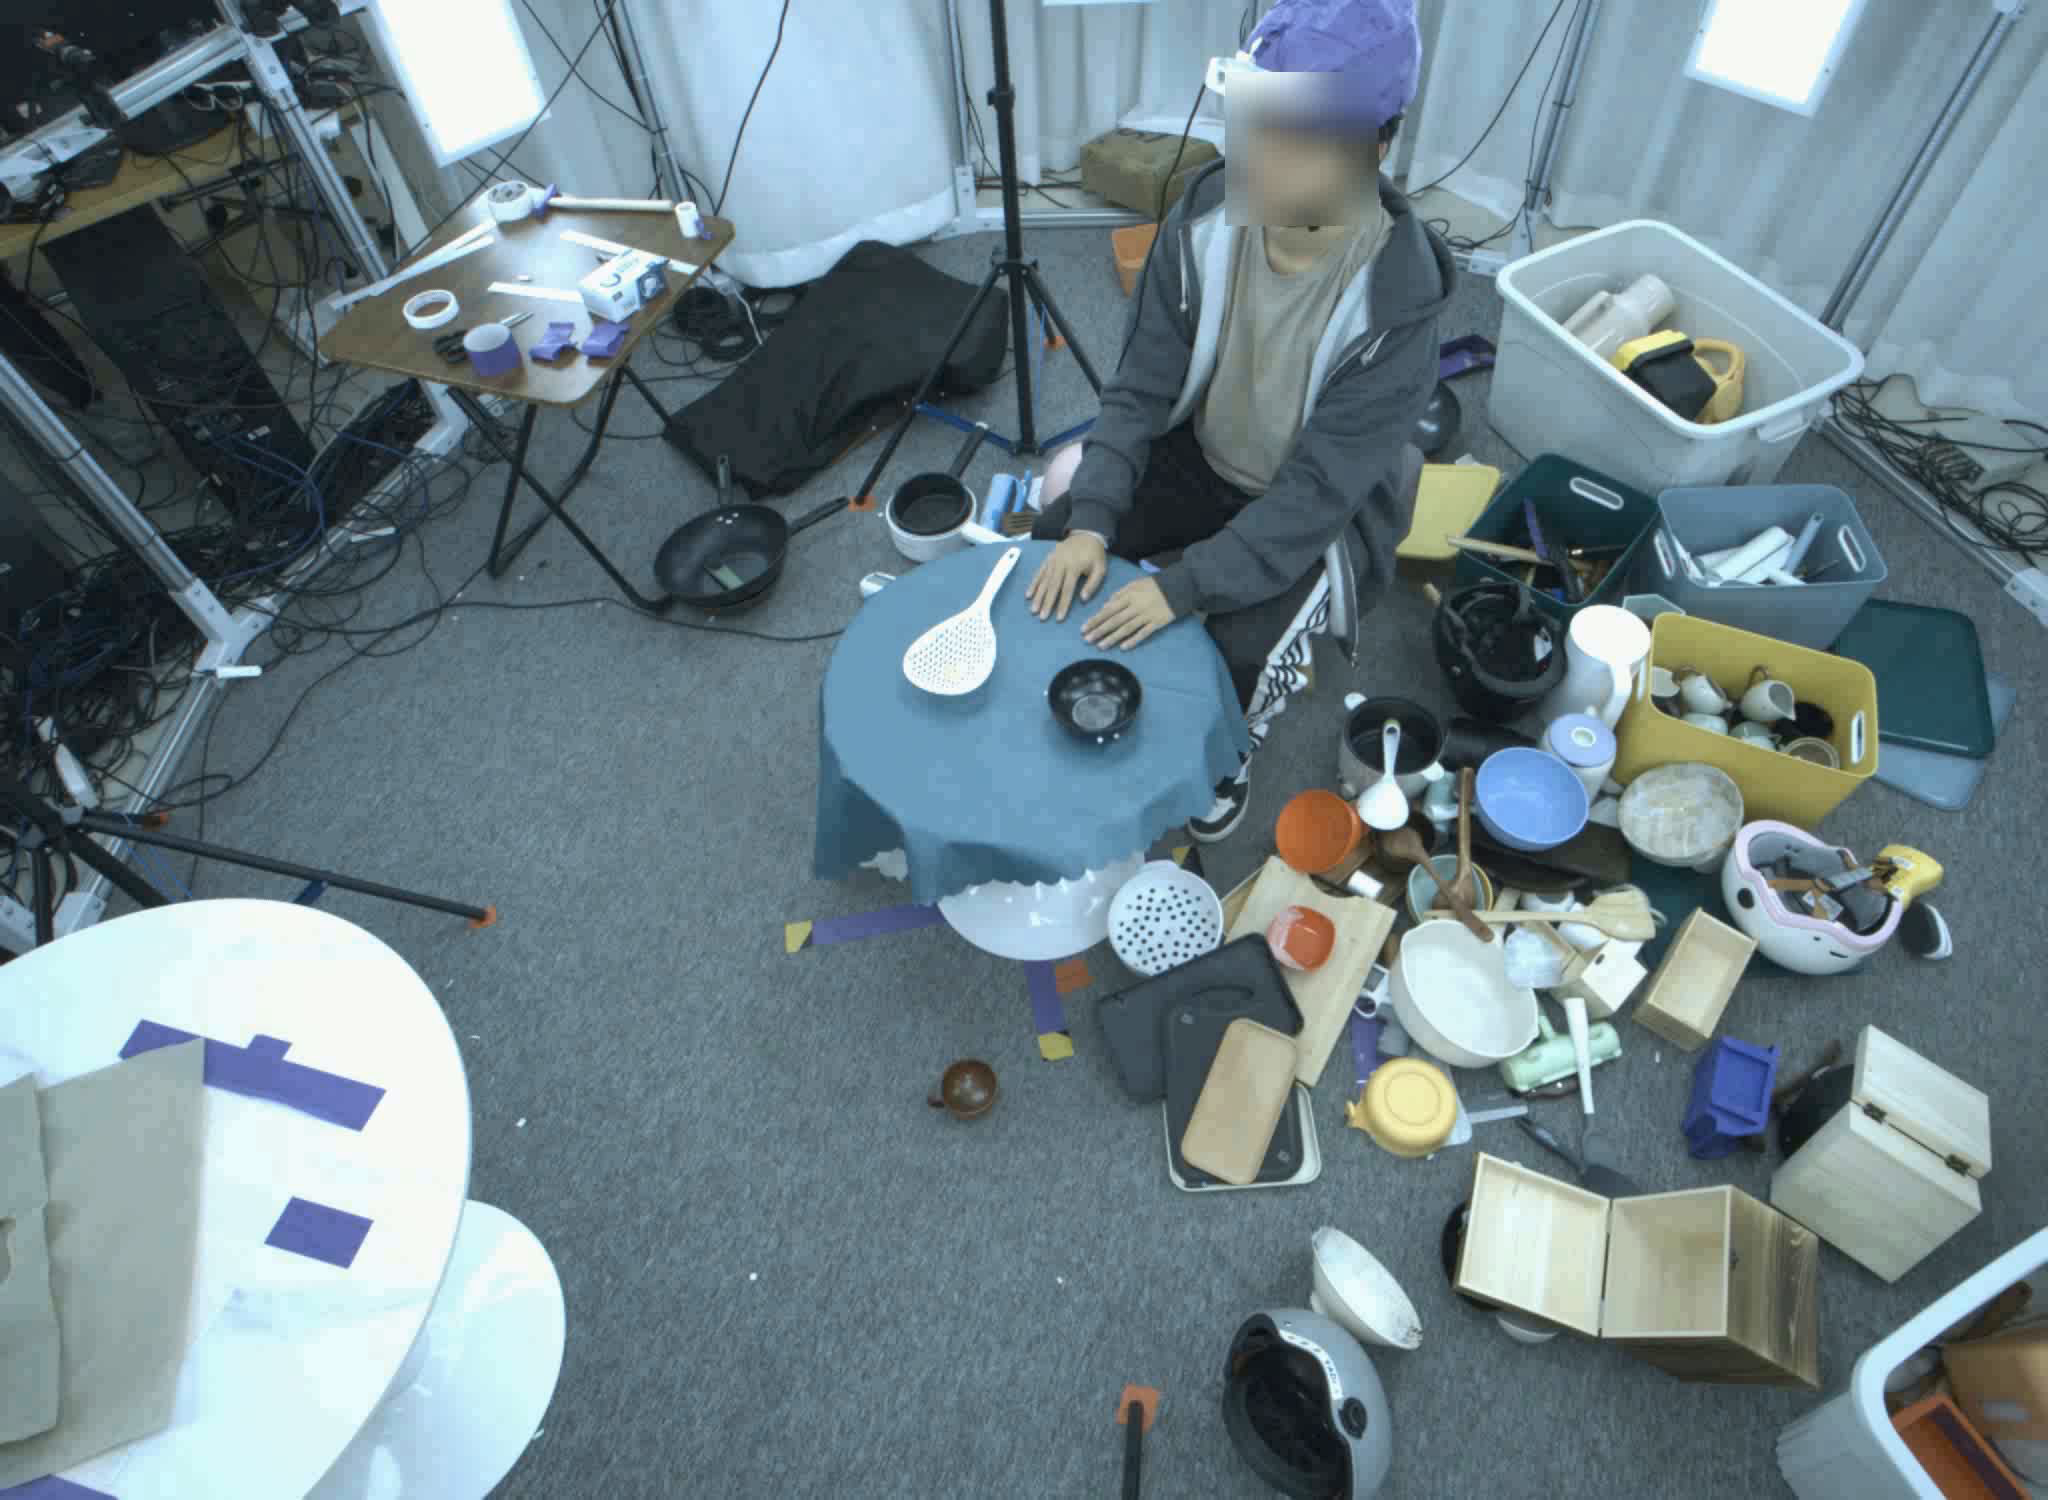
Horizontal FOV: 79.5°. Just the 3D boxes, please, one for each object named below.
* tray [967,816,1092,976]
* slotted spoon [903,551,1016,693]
[{"bbox_3d":[0.007,0.266,2.278,0.192,0.028,0.296,-9,56,-4],"label":"tray"},{"bbox_3d":[-0.073,-0.208,1.916,0.135,0.051,0.347,13,56,15],"label":"slotted spoon"}]
